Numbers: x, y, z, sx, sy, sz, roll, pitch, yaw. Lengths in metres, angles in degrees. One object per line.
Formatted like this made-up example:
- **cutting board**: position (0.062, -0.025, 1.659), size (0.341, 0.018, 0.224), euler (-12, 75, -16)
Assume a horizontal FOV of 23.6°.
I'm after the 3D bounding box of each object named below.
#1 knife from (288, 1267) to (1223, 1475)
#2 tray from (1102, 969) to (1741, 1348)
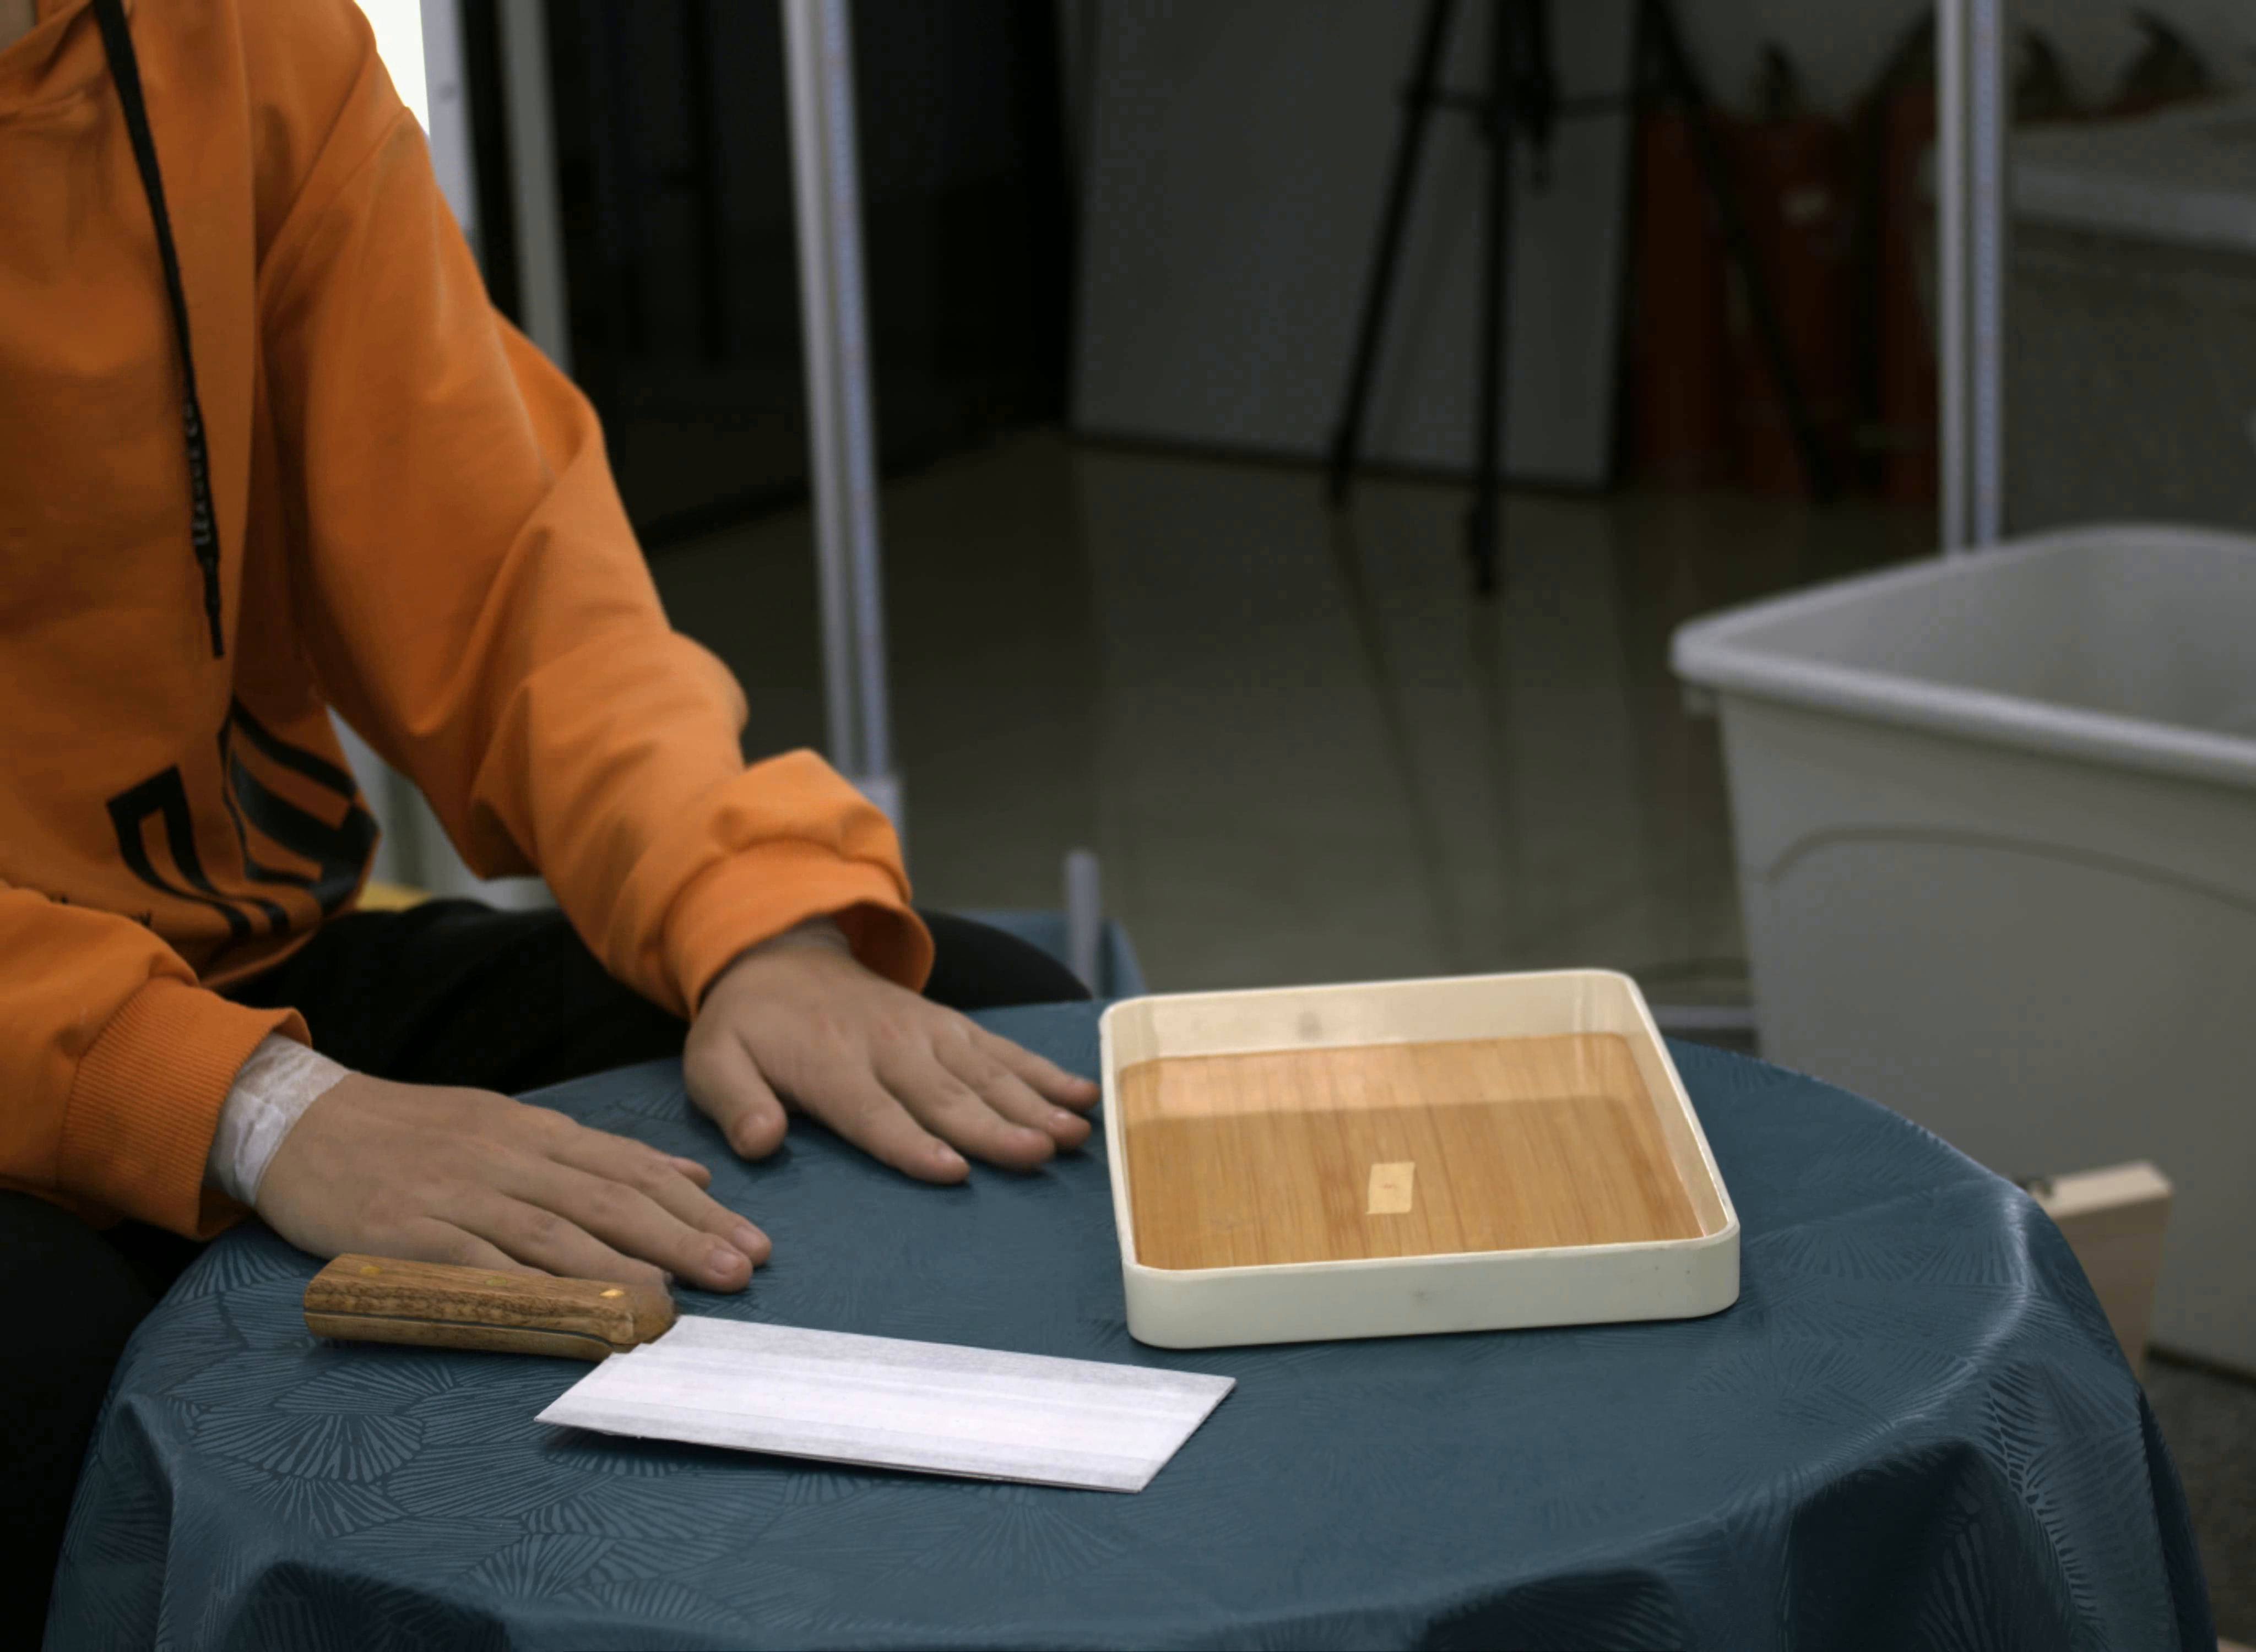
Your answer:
- **knife**: position (-0.123, 0.164, 1.601), size (0.305, 0.021, 0.092), euler (4, 17, 21)
- **tray**: position (0.089, 0.104, 1.754), size (0.189, 0.028, 0.301), euler (-4, 14, 0)
